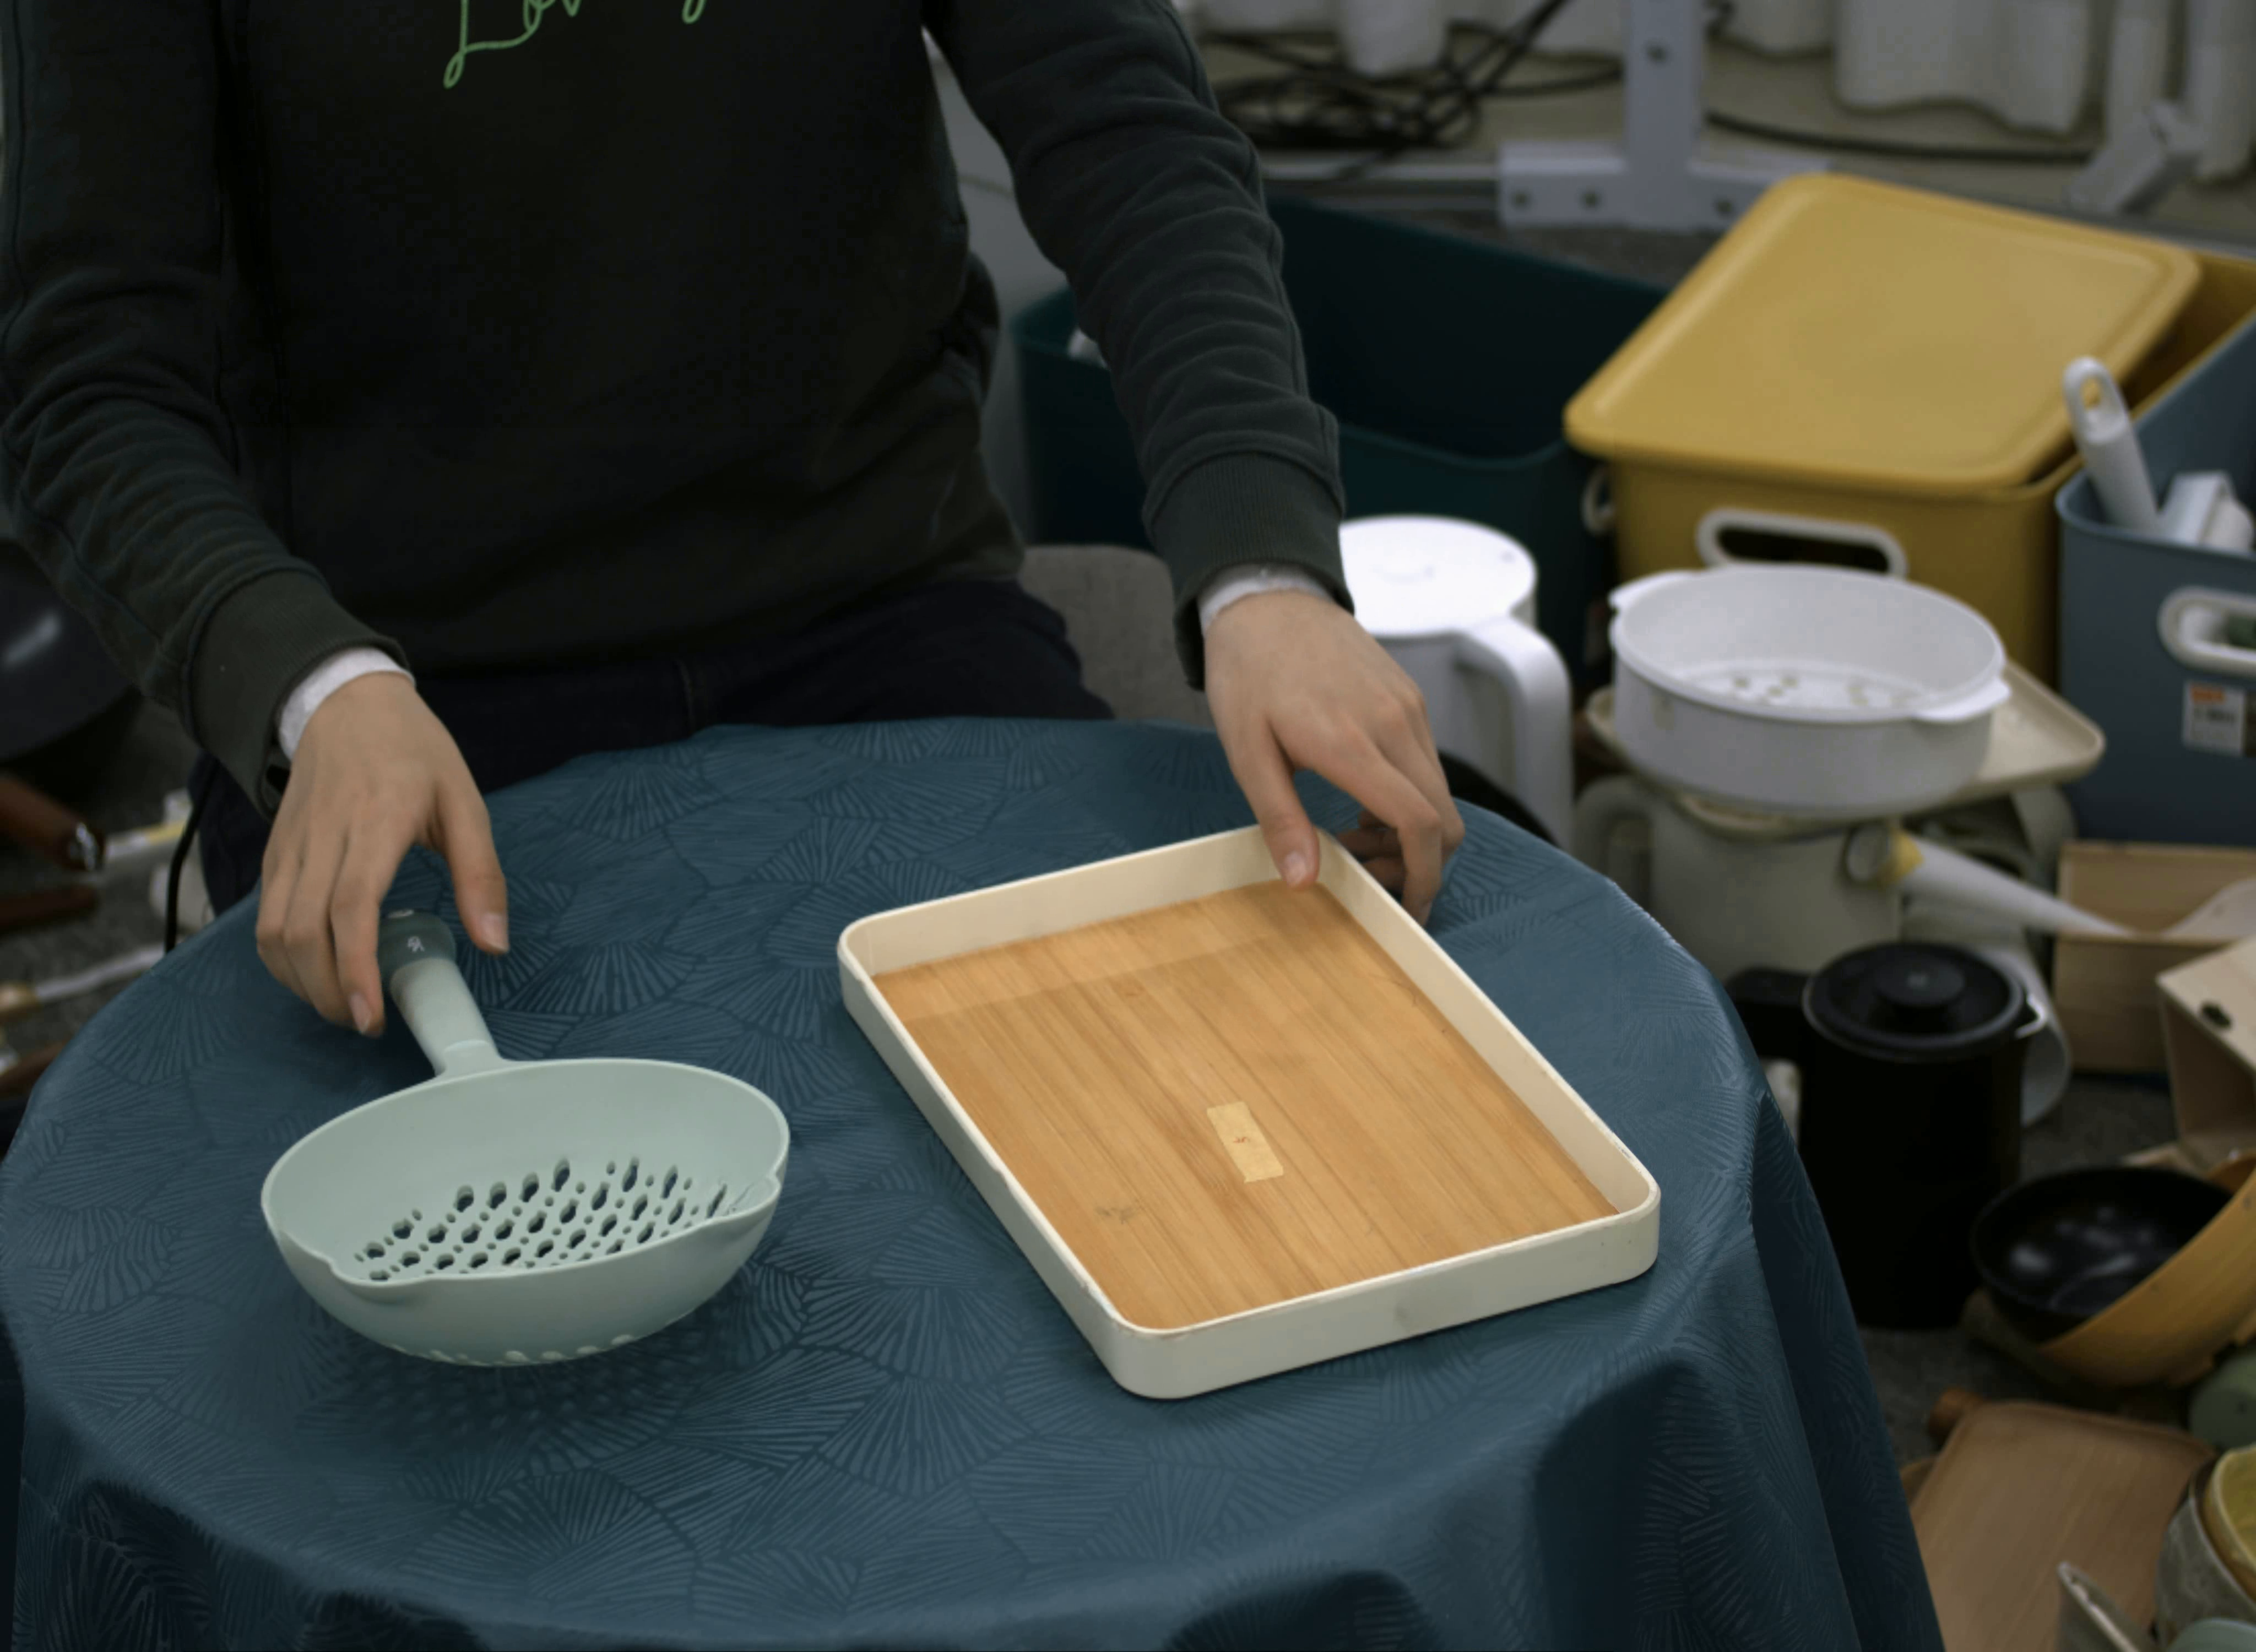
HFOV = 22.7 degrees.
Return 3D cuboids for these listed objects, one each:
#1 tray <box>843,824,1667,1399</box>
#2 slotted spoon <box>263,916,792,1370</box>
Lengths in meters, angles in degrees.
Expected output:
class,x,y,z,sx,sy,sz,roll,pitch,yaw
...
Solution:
class,x,y,z,sx,sy,sz,roll,pitch,yaw
tray,0.036,0.090,1.891,0.192,0.027,0.303,-12,29,-18
slotted spoon,-0.216,0.090,1.876,0.169,0.074,0.362,-9,28,-14
